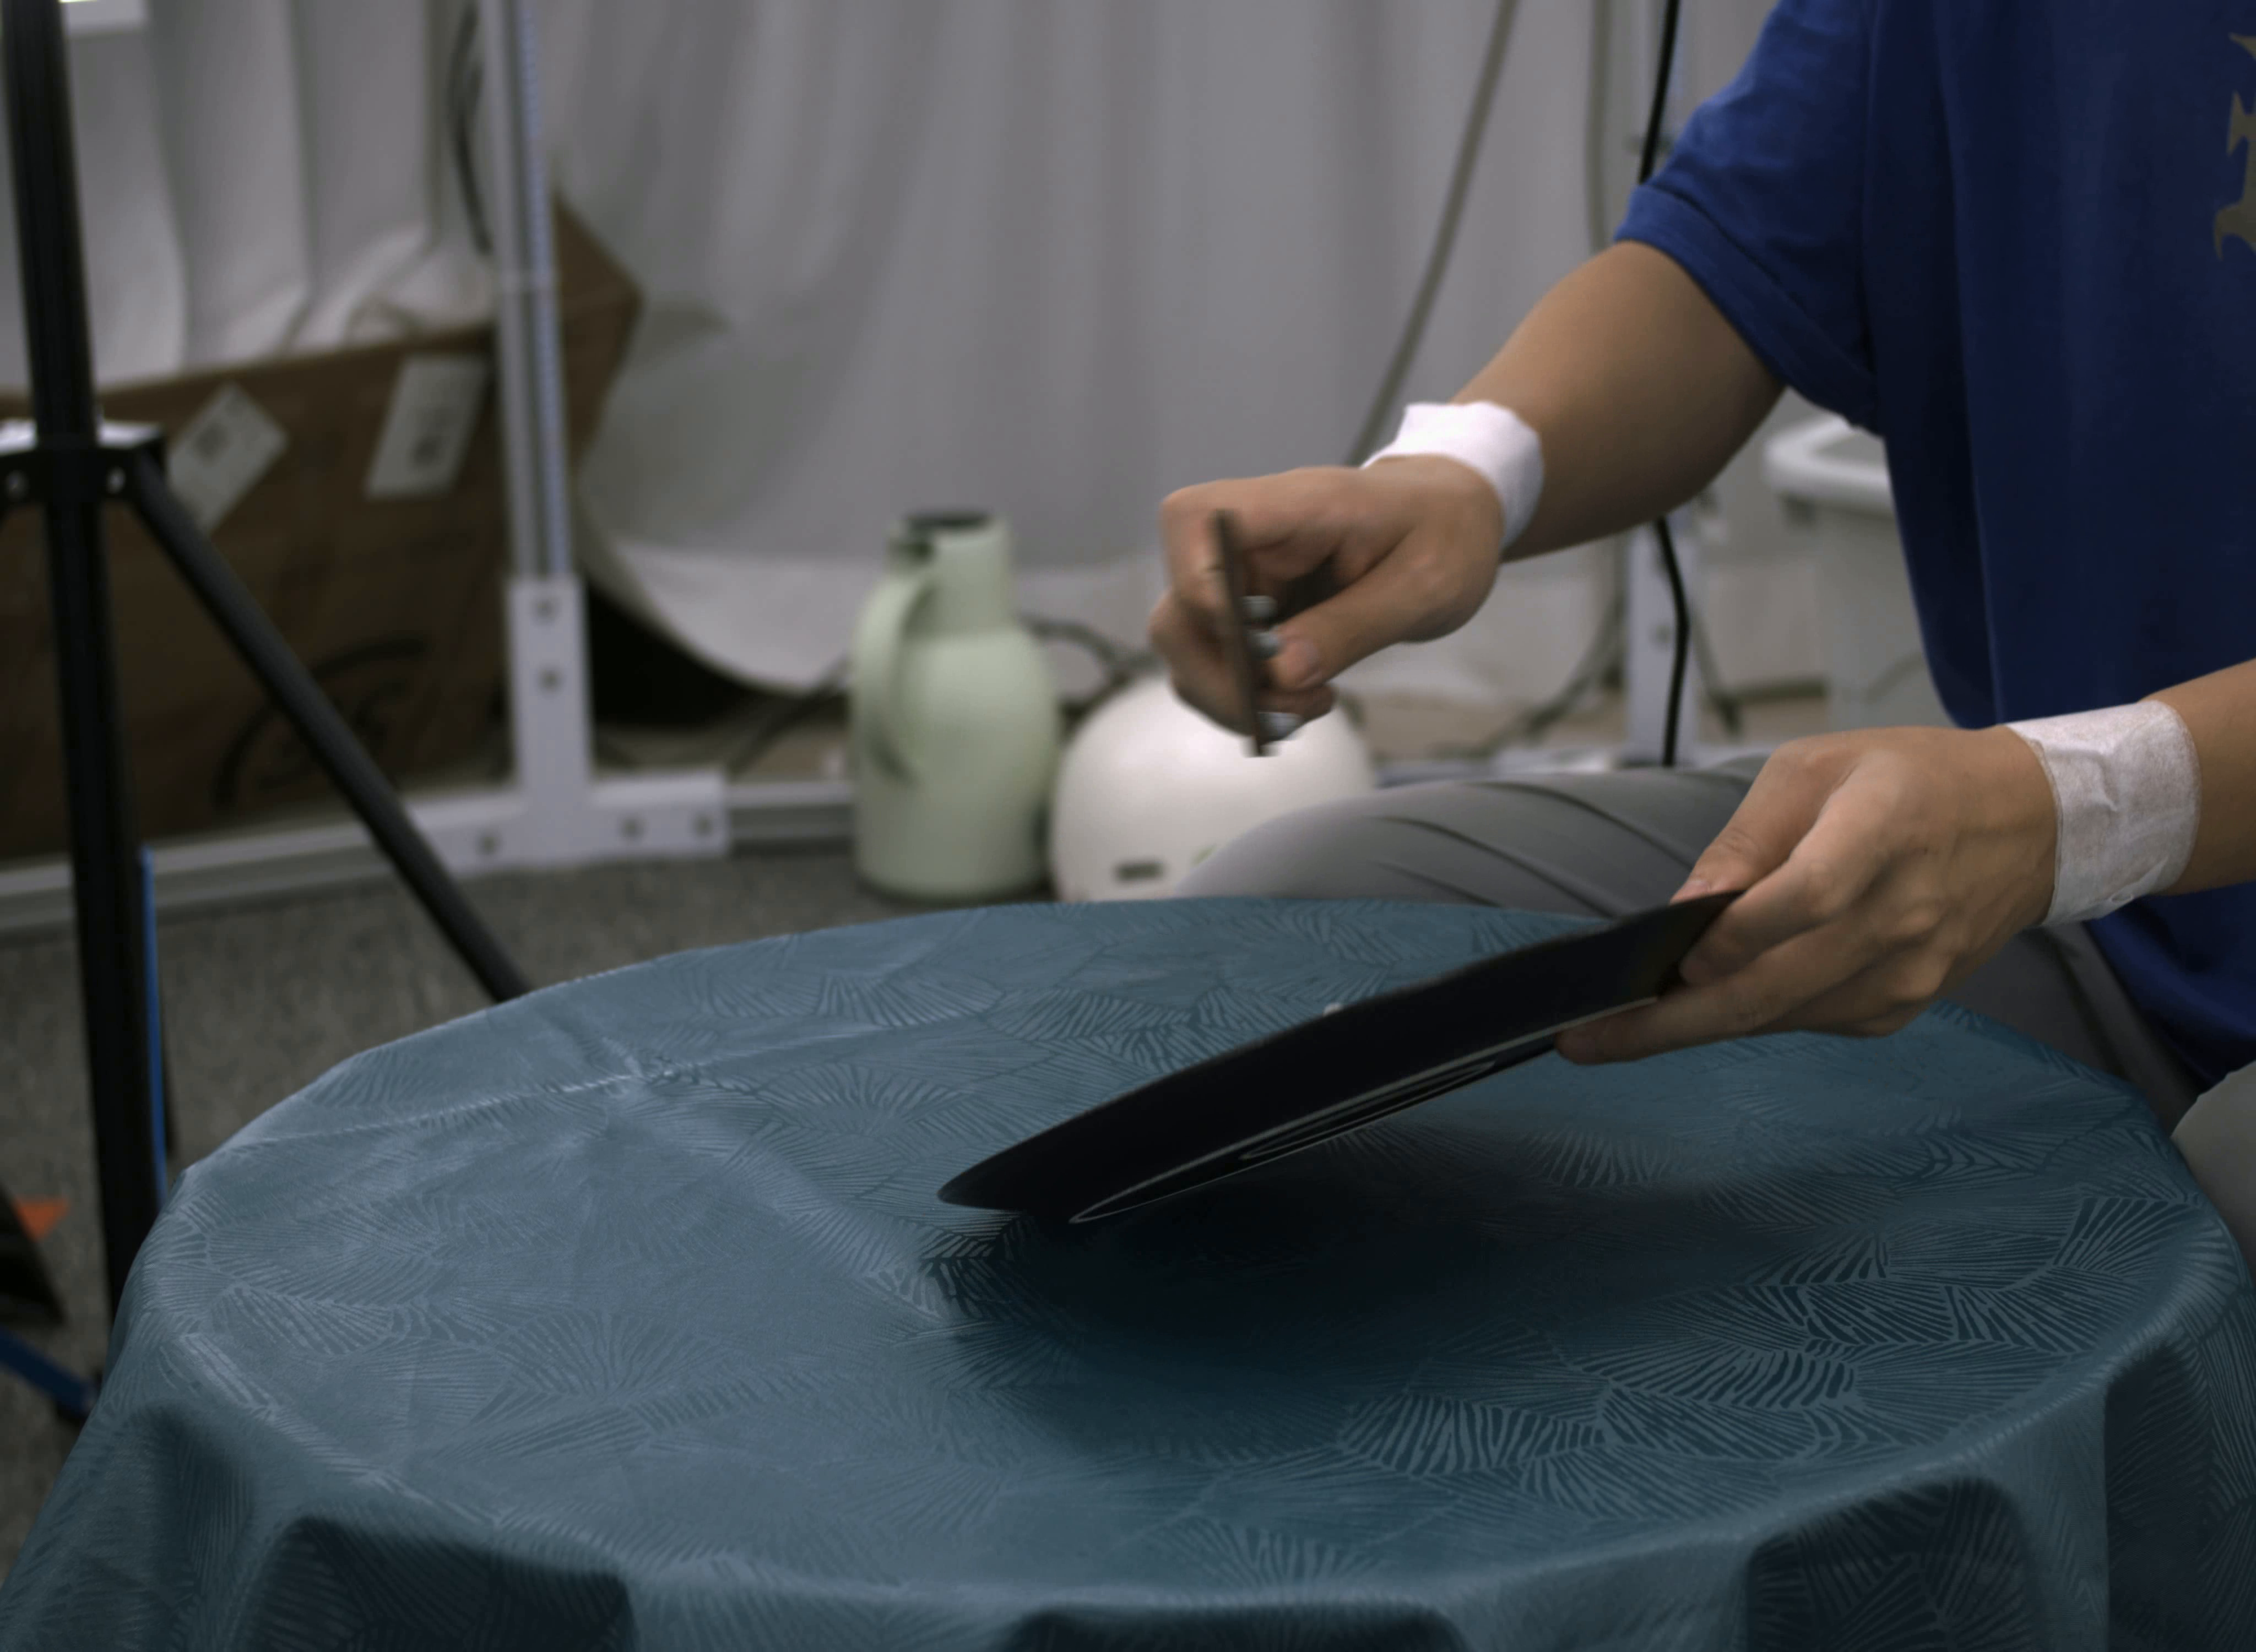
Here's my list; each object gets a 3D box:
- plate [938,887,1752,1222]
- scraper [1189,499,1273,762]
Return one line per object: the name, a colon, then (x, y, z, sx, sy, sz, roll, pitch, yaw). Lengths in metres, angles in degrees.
plate: (0.064, 0.071, 1.490, 0.243, 0.023, 0.244, -20, -6, -4)
scraper: (0.034, -0.053, 1.624, 0.011, 0.076, 0.210, -10, -3, 5)
